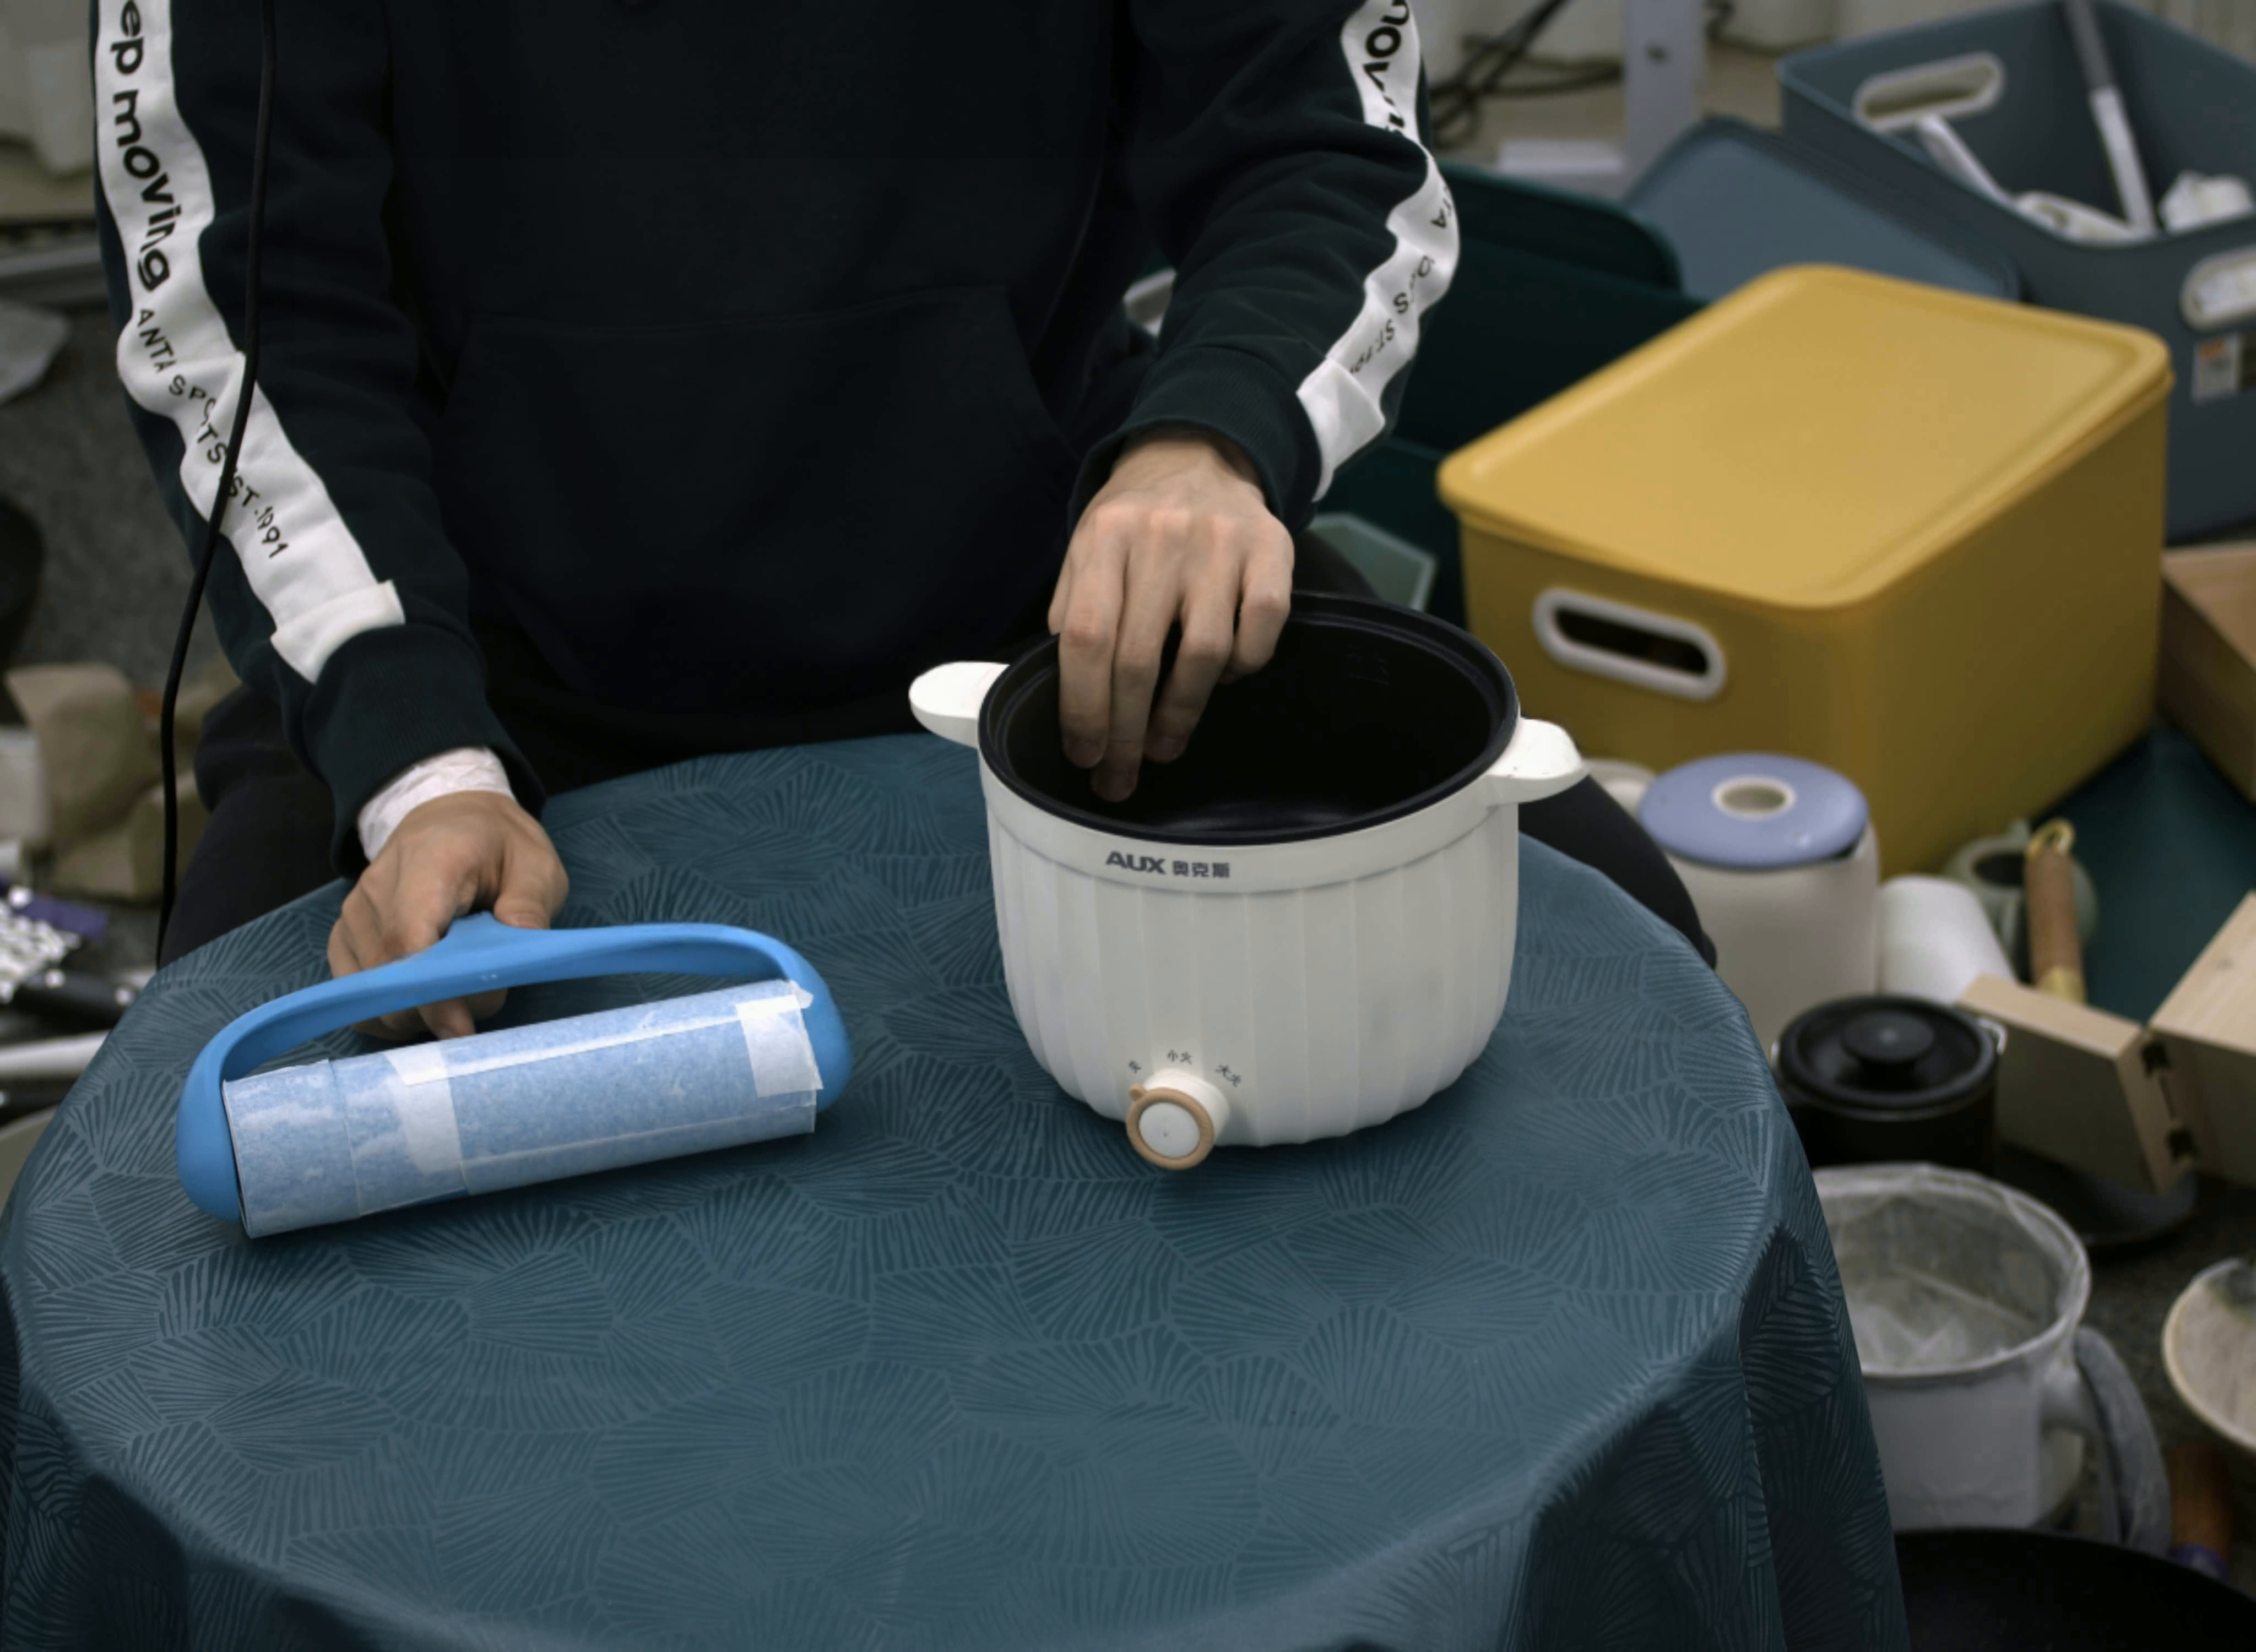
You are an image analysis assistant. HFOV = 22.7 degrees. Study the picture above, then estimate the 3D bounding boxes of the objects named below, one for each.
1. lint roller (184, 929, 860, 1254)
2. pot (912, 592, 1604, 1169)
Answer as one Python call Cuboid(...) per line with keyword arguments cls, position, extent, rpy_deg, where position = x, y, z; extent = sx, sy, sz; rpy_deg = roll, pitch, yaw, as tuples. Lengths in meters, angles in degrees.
Cuboid(cls="lint roller", position=(-0.220, 0.070, 1.922), extent=(0.229, 0.067, 0.182), rpy_deg=(-13, 29, -16))
Cuboid(cls="pot", position=(0.044, 0.022, 1.899), extent=(0.238, 0.141, 0.193), rpy_deg=(5, 25, 17))
